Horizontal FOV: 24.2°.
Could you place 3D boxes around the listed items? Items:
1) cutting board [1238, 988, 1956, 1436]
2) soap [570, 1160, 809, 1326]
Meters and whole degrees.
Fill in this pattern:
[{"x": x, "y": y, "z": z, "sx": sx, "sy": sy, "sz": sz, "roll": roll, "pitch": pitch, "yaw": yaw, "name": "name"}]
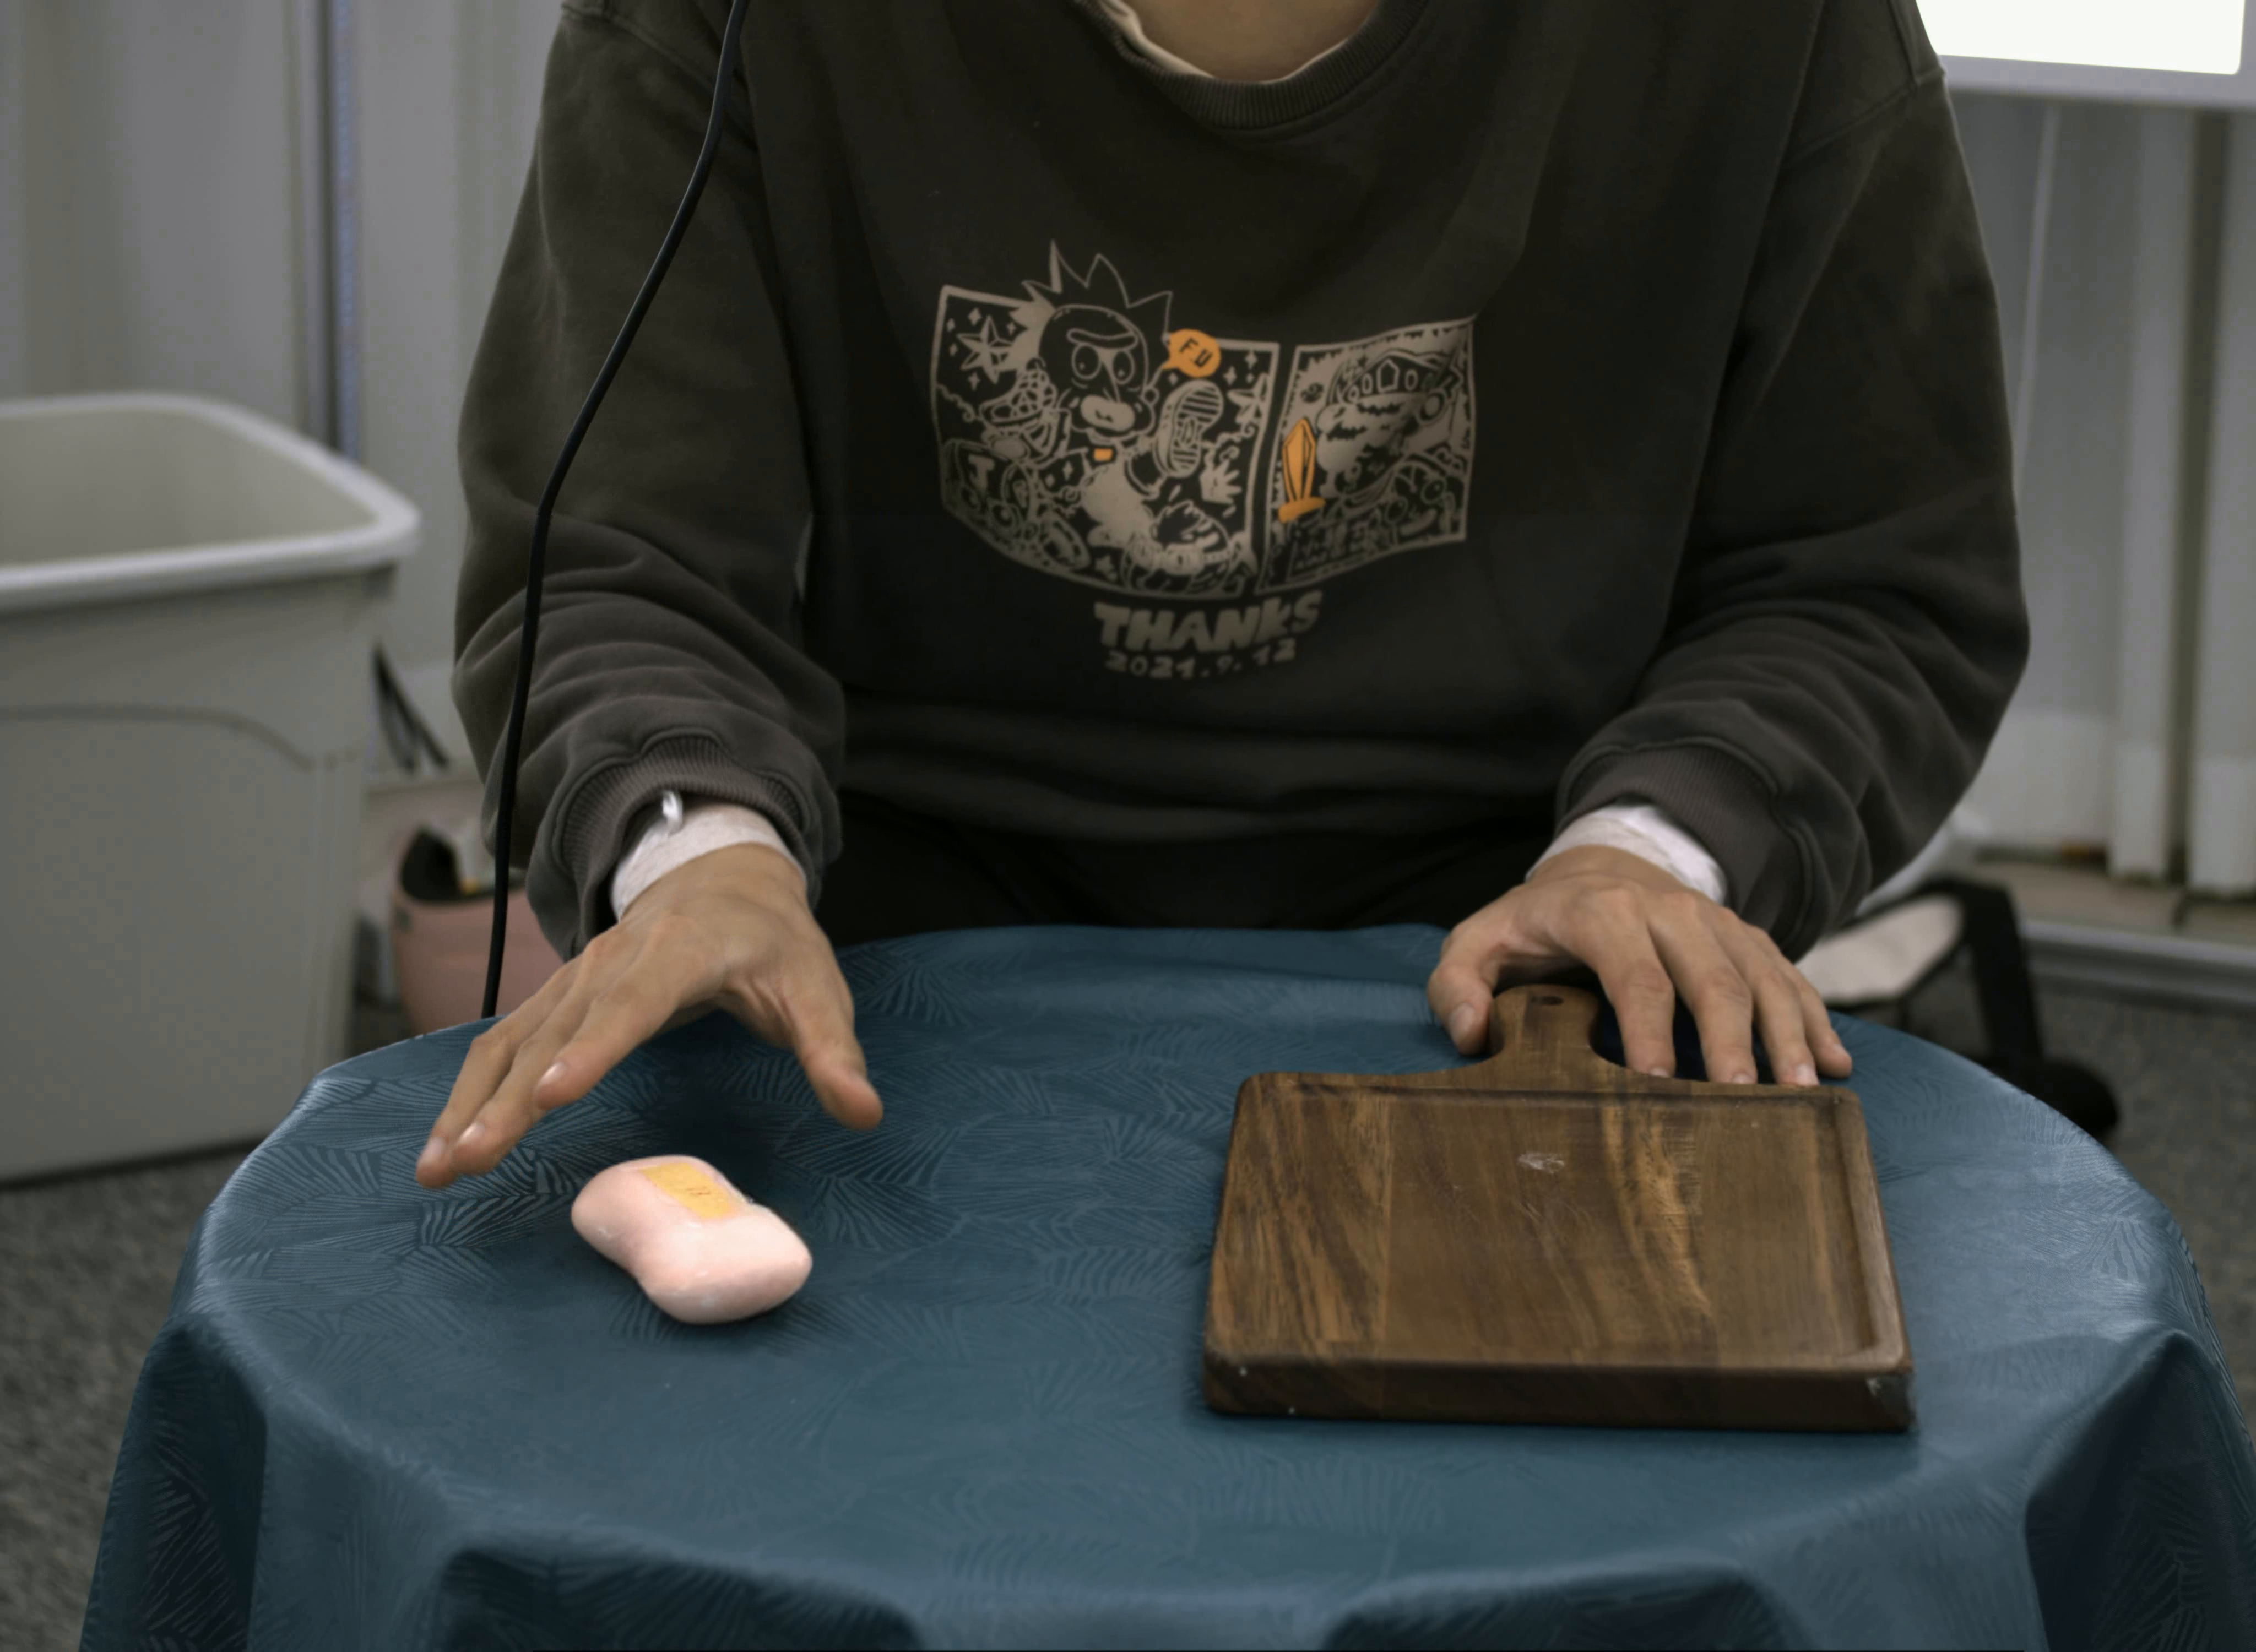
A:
[{"x": 0.140, "y": 0.110, "z": 1.605, "sx": 0.200, "sy": 0.023, "sz": 0.351, "roll": 2, "pitch": 15, "yaw": 4, "name": "cutting board"}, {"x": -0.129, "y": 0.121, "z": 1.541, "sx": 0.050, "sy": 0.030, "sz": 0.093, "roll": -6, "pitch": 15, "yaw": -24, "name": "soap"}]
